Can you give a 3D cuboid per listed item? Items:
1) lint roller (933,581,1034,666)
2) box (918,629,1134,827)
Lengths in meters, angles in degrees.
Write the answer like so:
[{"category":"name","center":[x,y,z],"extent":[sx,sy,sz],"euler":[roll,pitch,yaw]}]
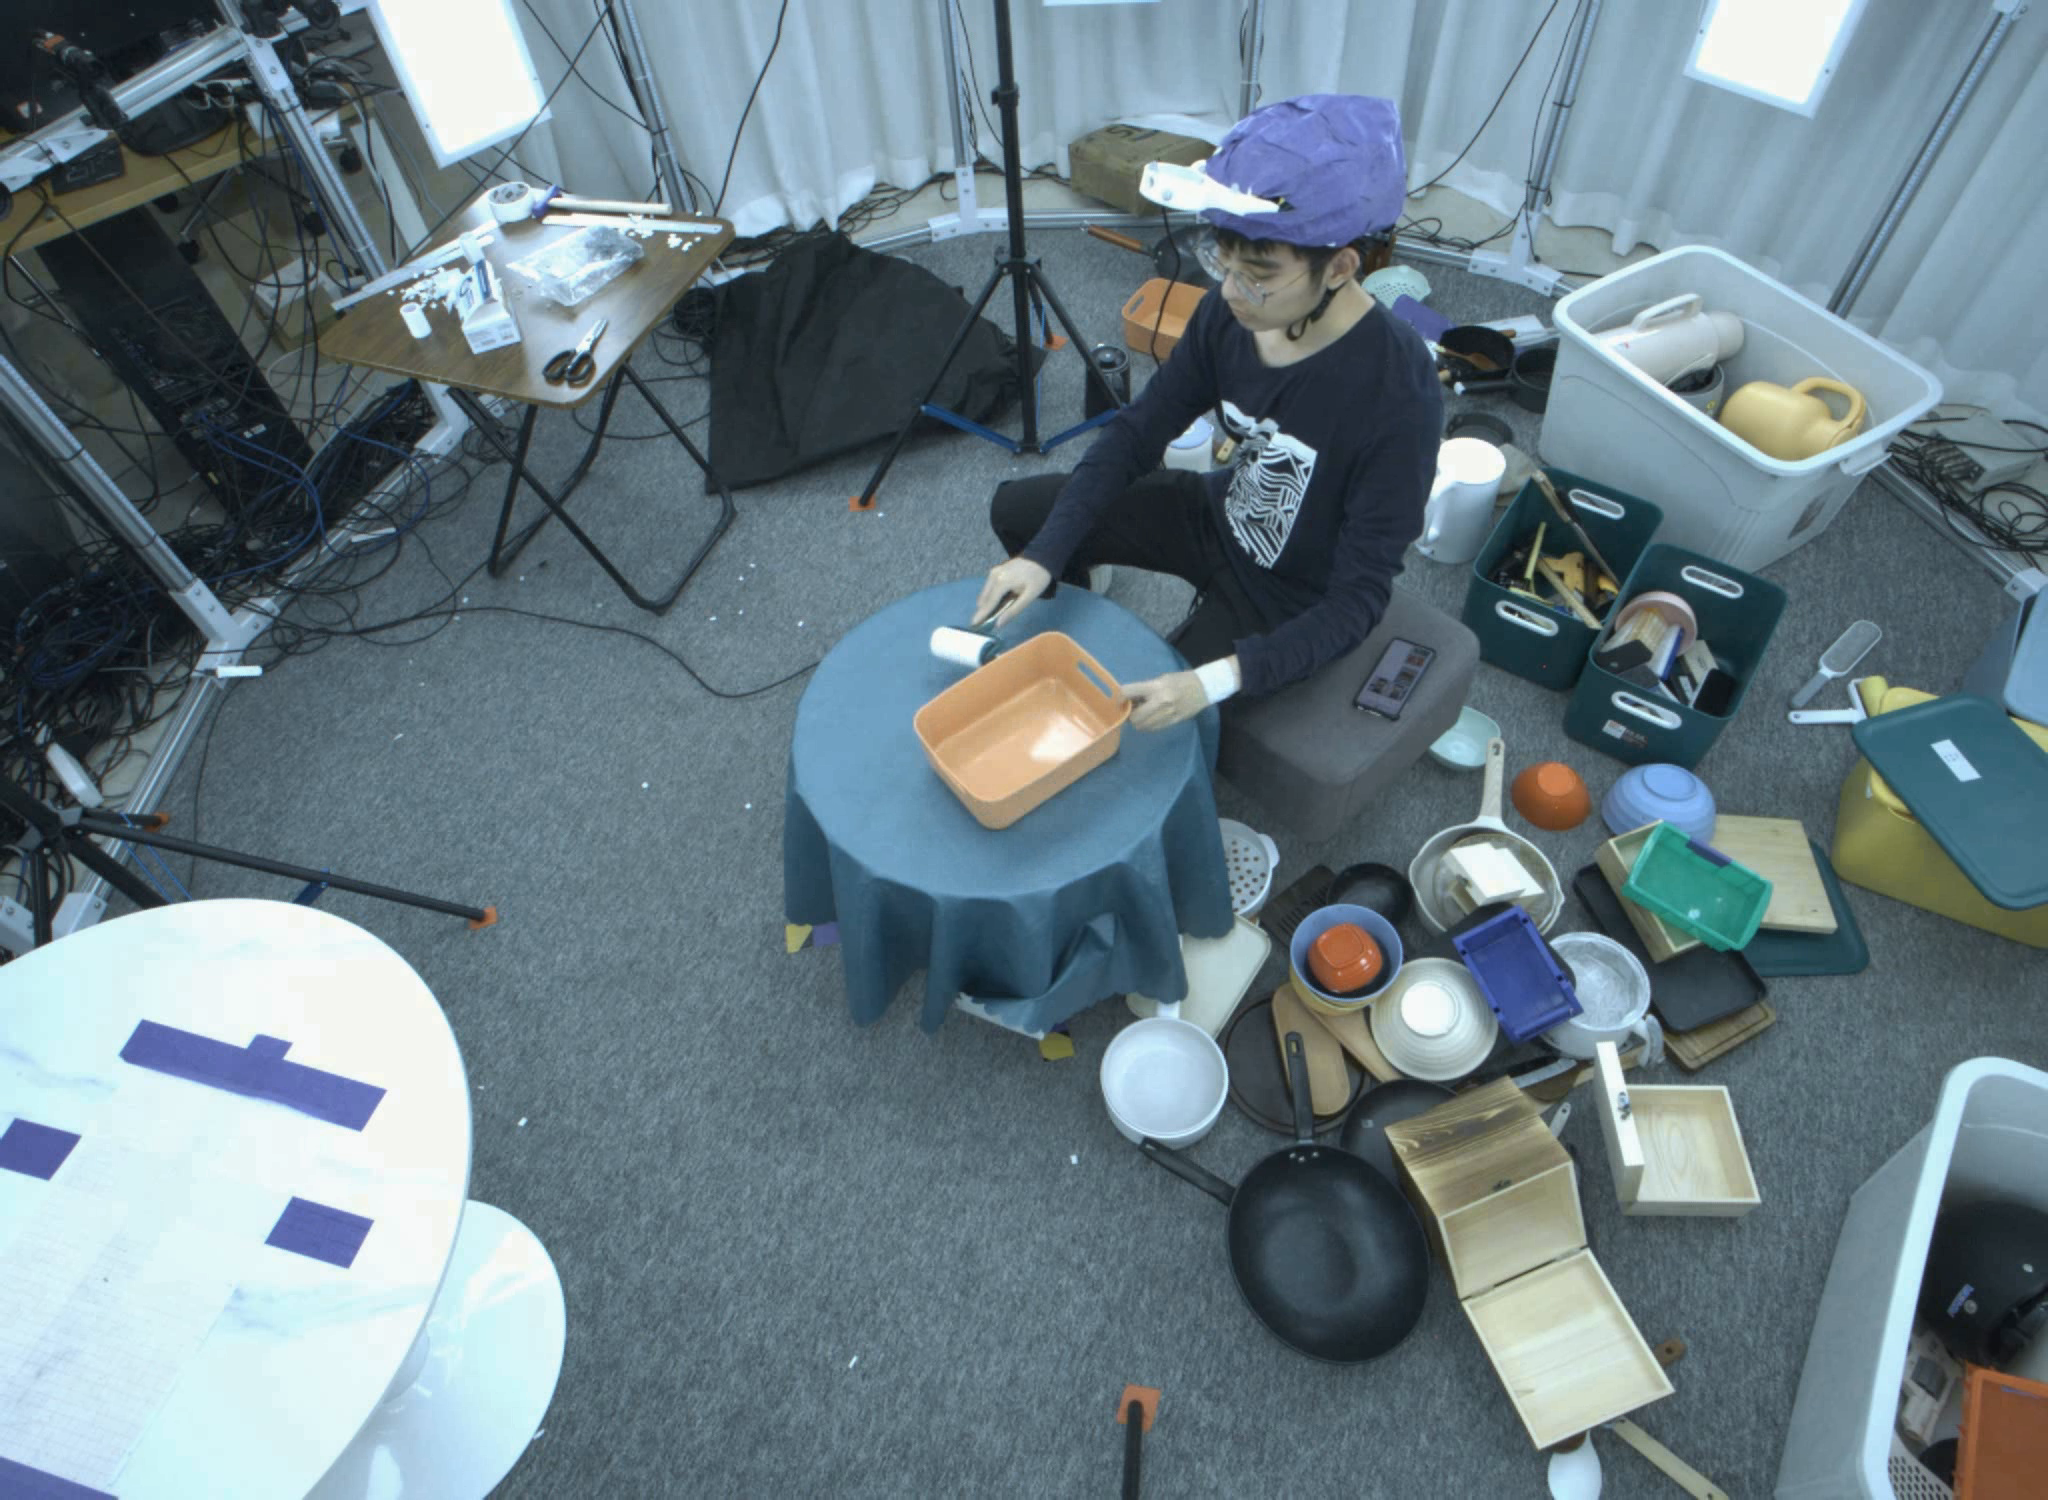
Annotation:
[{"category":"lint roller","center":[-0.044,-0.203,1.829],"extent":[0.131,0.049,0.180],"euler":[15,60,38]},{"category":"box","center":[0.002,-0.029,1.737],"extent":[0.275,0.103,0.196],"euler":[-34,68,-20]}]
